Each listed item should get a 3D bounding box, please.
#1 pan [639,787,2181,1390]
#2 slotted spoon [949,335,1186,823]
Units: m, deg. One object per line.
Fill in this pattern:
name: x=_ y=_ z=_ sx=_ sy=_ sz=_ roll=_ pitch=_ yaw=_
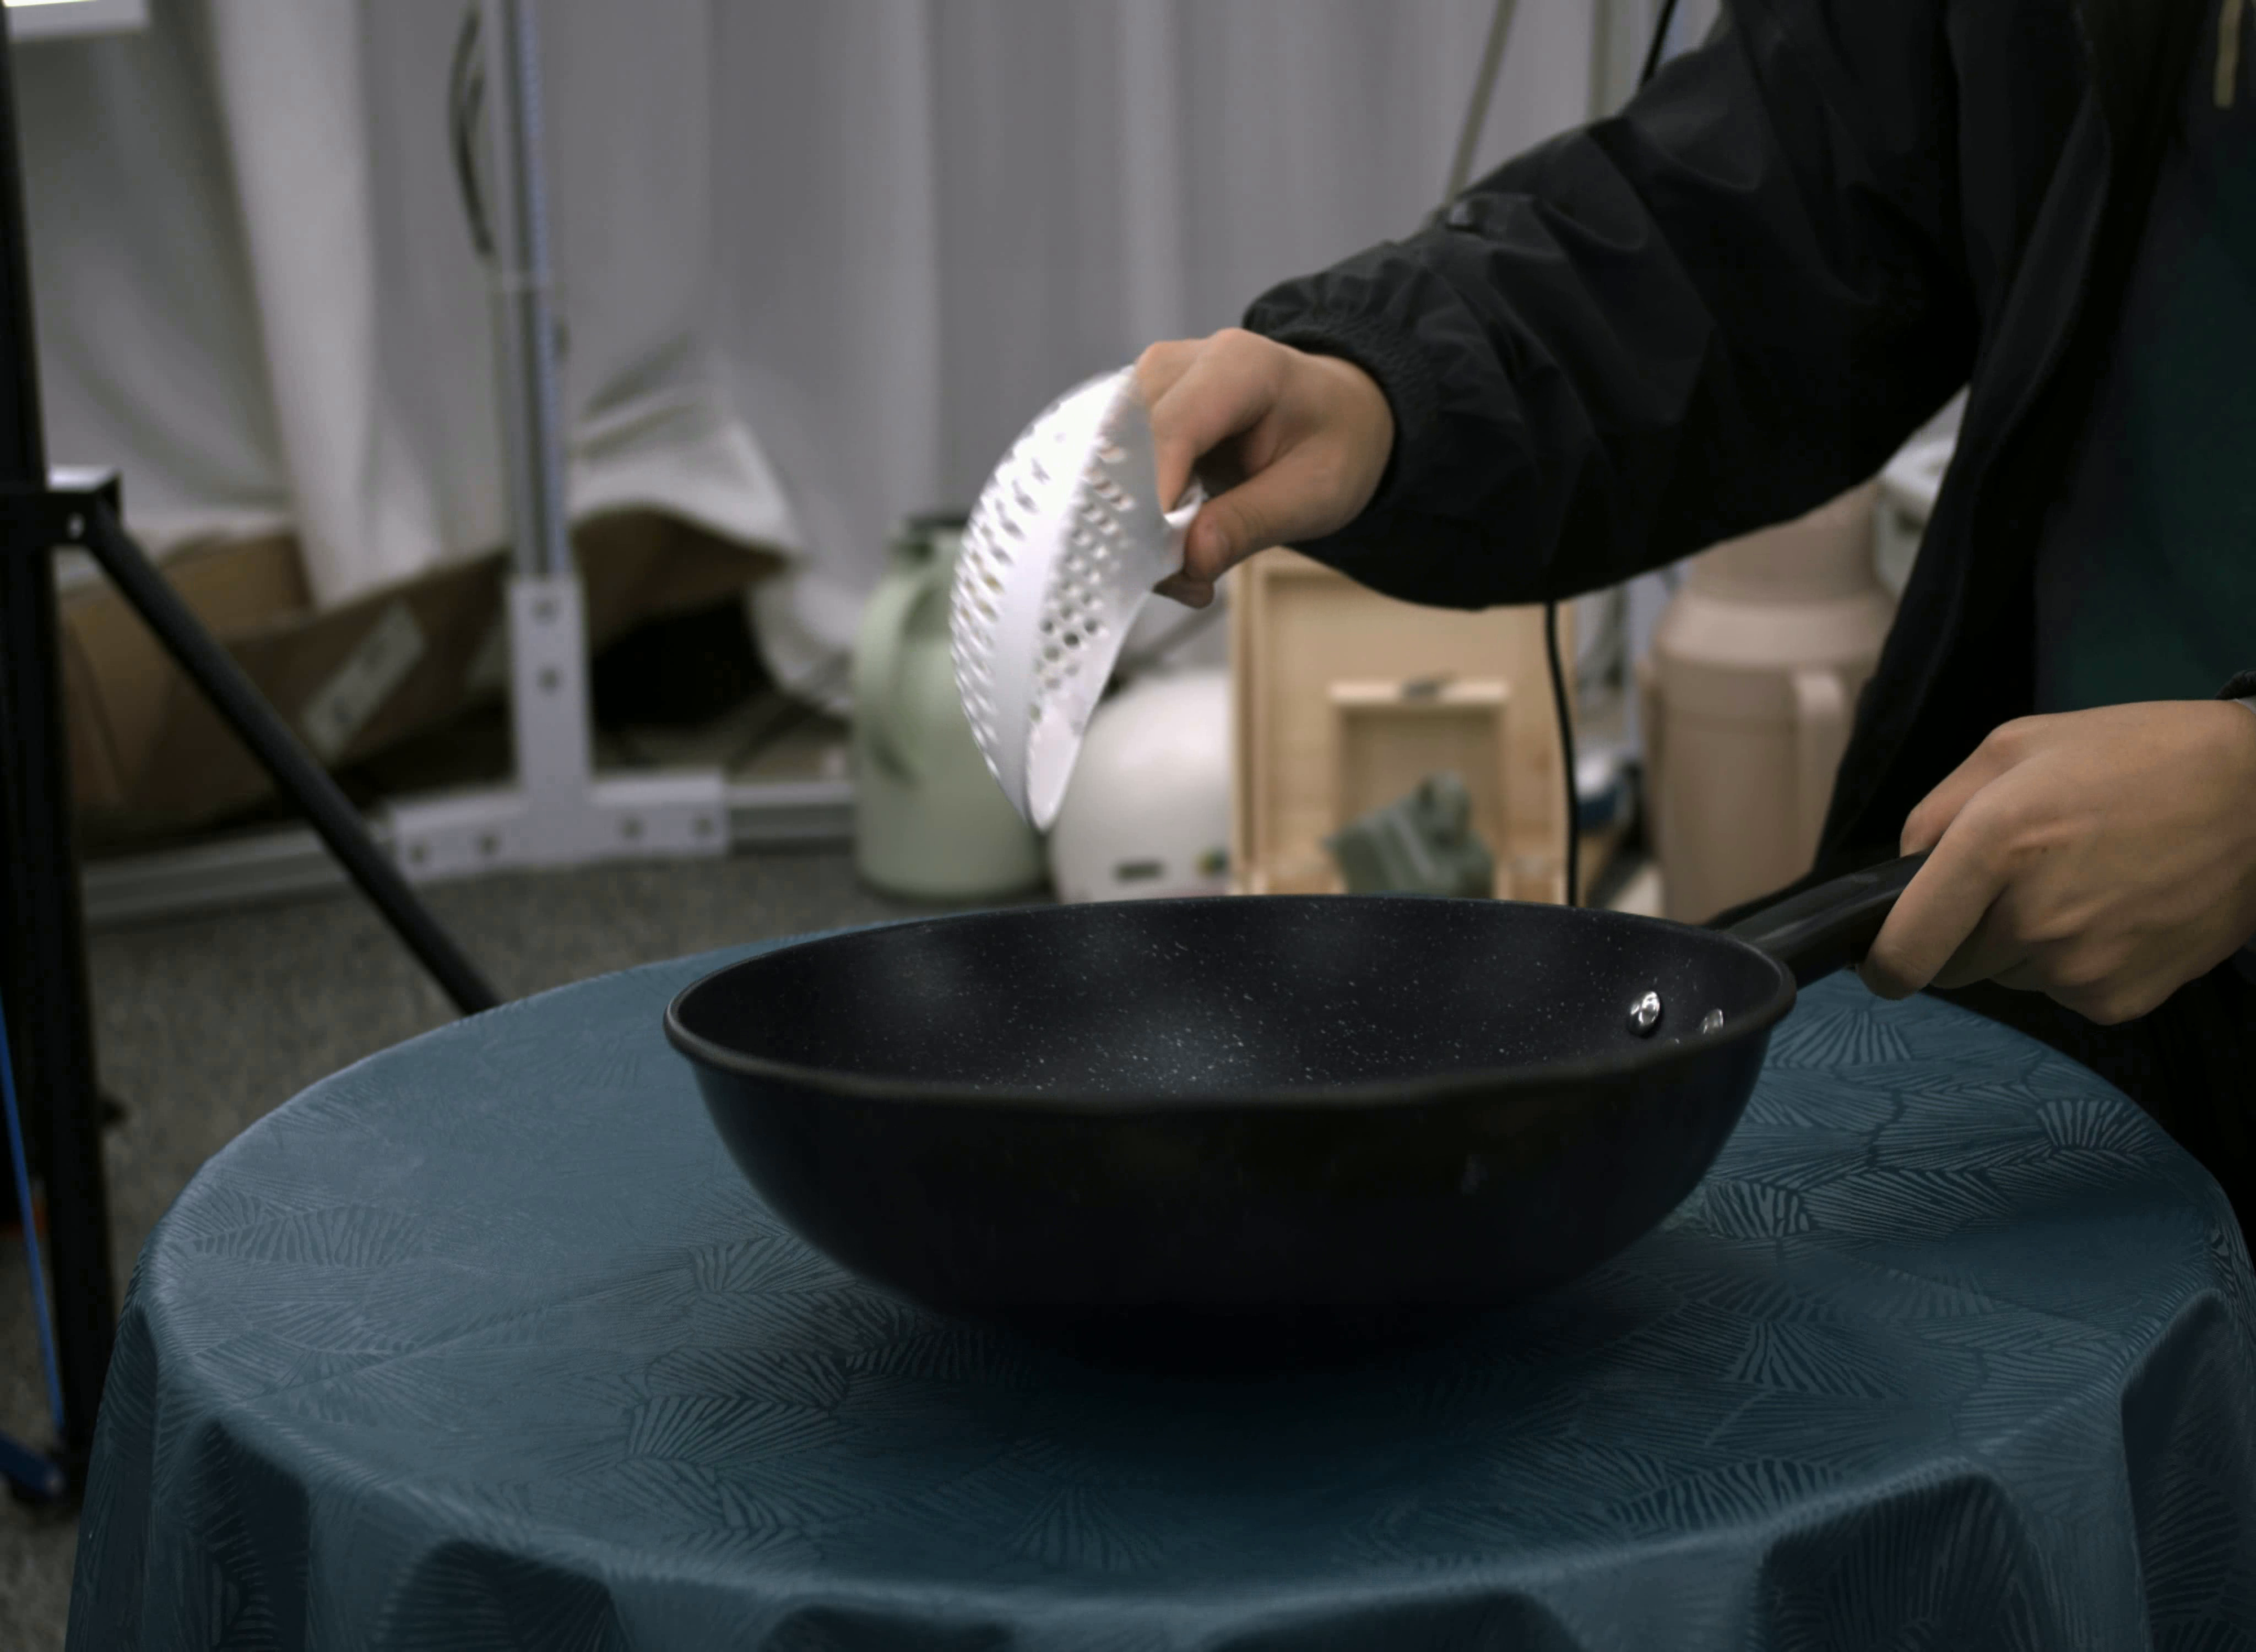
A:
pan: x=0.097 y=0.070 z=1.475 sx=0.467 sy=0.112 sz=0.316 roll=-7 pitch=12 yaw=-24
slotted spoon: x=-0.006 y=-0.085 z=1.597 sx=0.050 sy=0.137 sz=0.345 roll=10 pitch=9 yaw=11
